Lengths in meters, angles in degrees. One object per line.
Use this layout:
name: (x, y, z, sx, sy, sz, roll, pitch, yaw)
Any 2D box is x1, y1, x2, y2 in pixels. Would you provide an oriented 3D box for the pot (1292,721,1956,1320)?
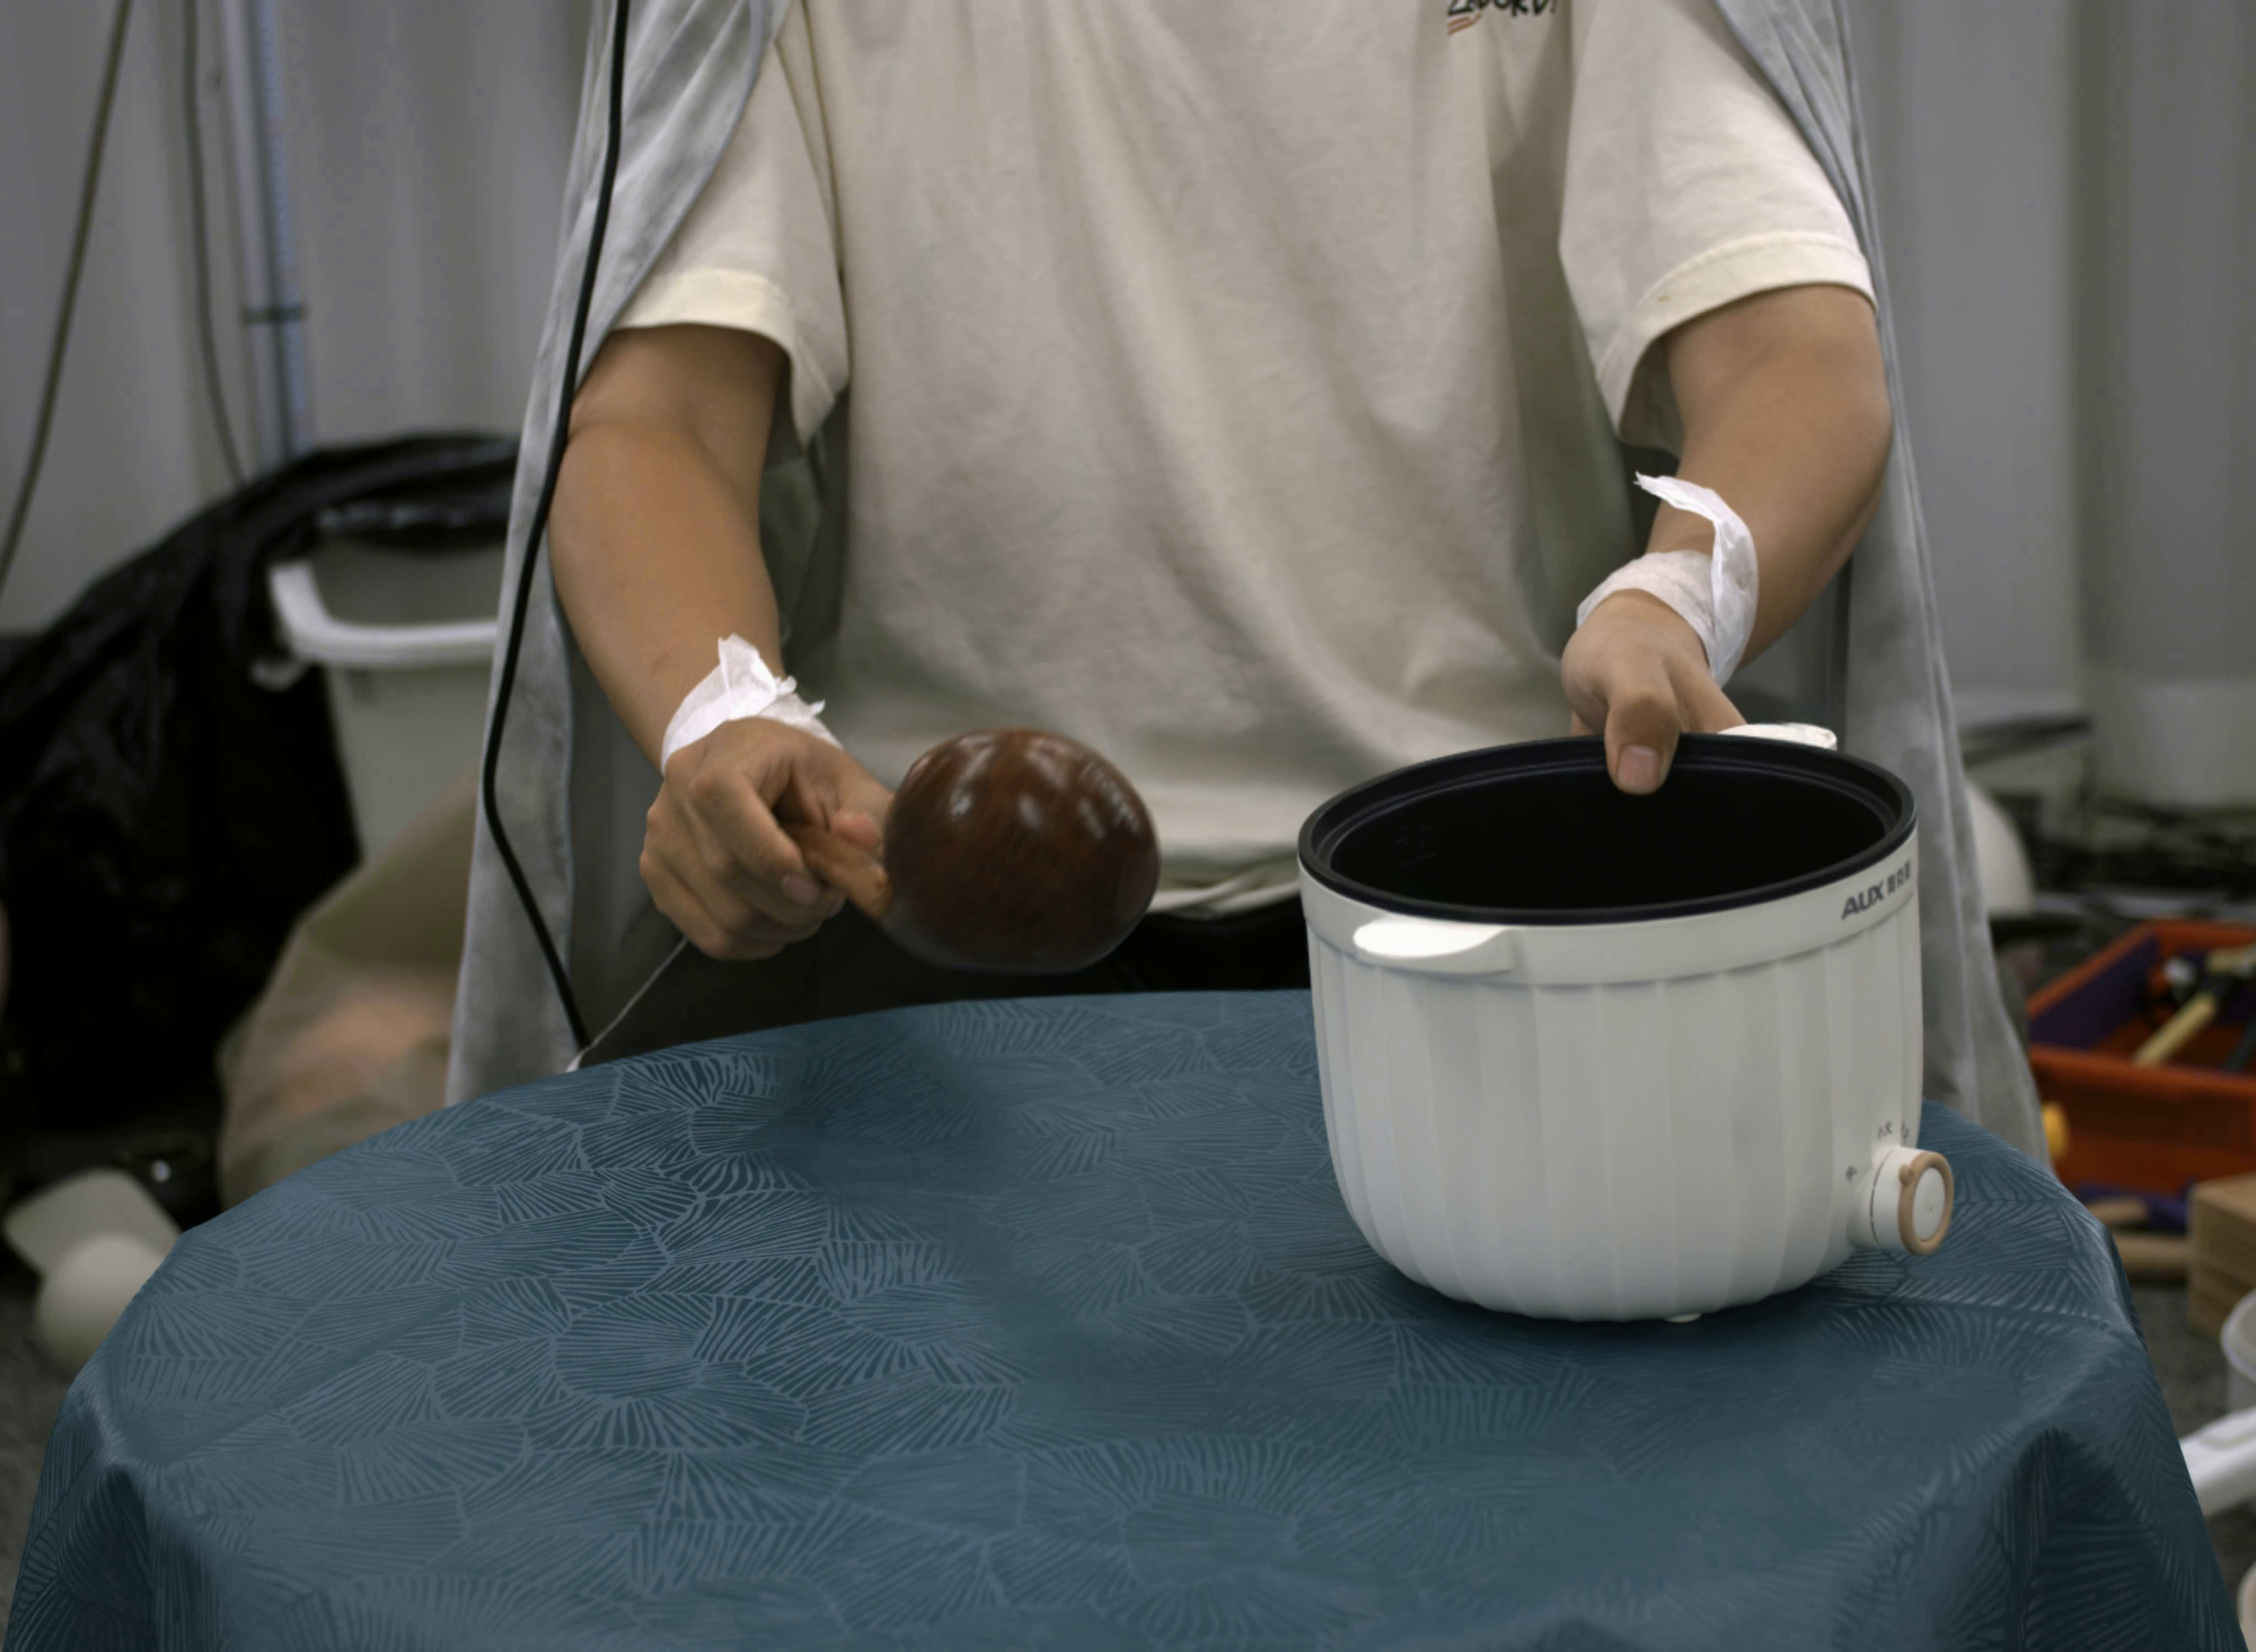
pot: (0.149, 0.061, 1.613, 0.191, 0.142, 0.241, 2, 18, 35)

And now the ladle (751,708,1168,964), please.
ladle: (-0.060, -0.002, 1.685, 0.077, 0.081, 0.275, -45, 14, -8)
